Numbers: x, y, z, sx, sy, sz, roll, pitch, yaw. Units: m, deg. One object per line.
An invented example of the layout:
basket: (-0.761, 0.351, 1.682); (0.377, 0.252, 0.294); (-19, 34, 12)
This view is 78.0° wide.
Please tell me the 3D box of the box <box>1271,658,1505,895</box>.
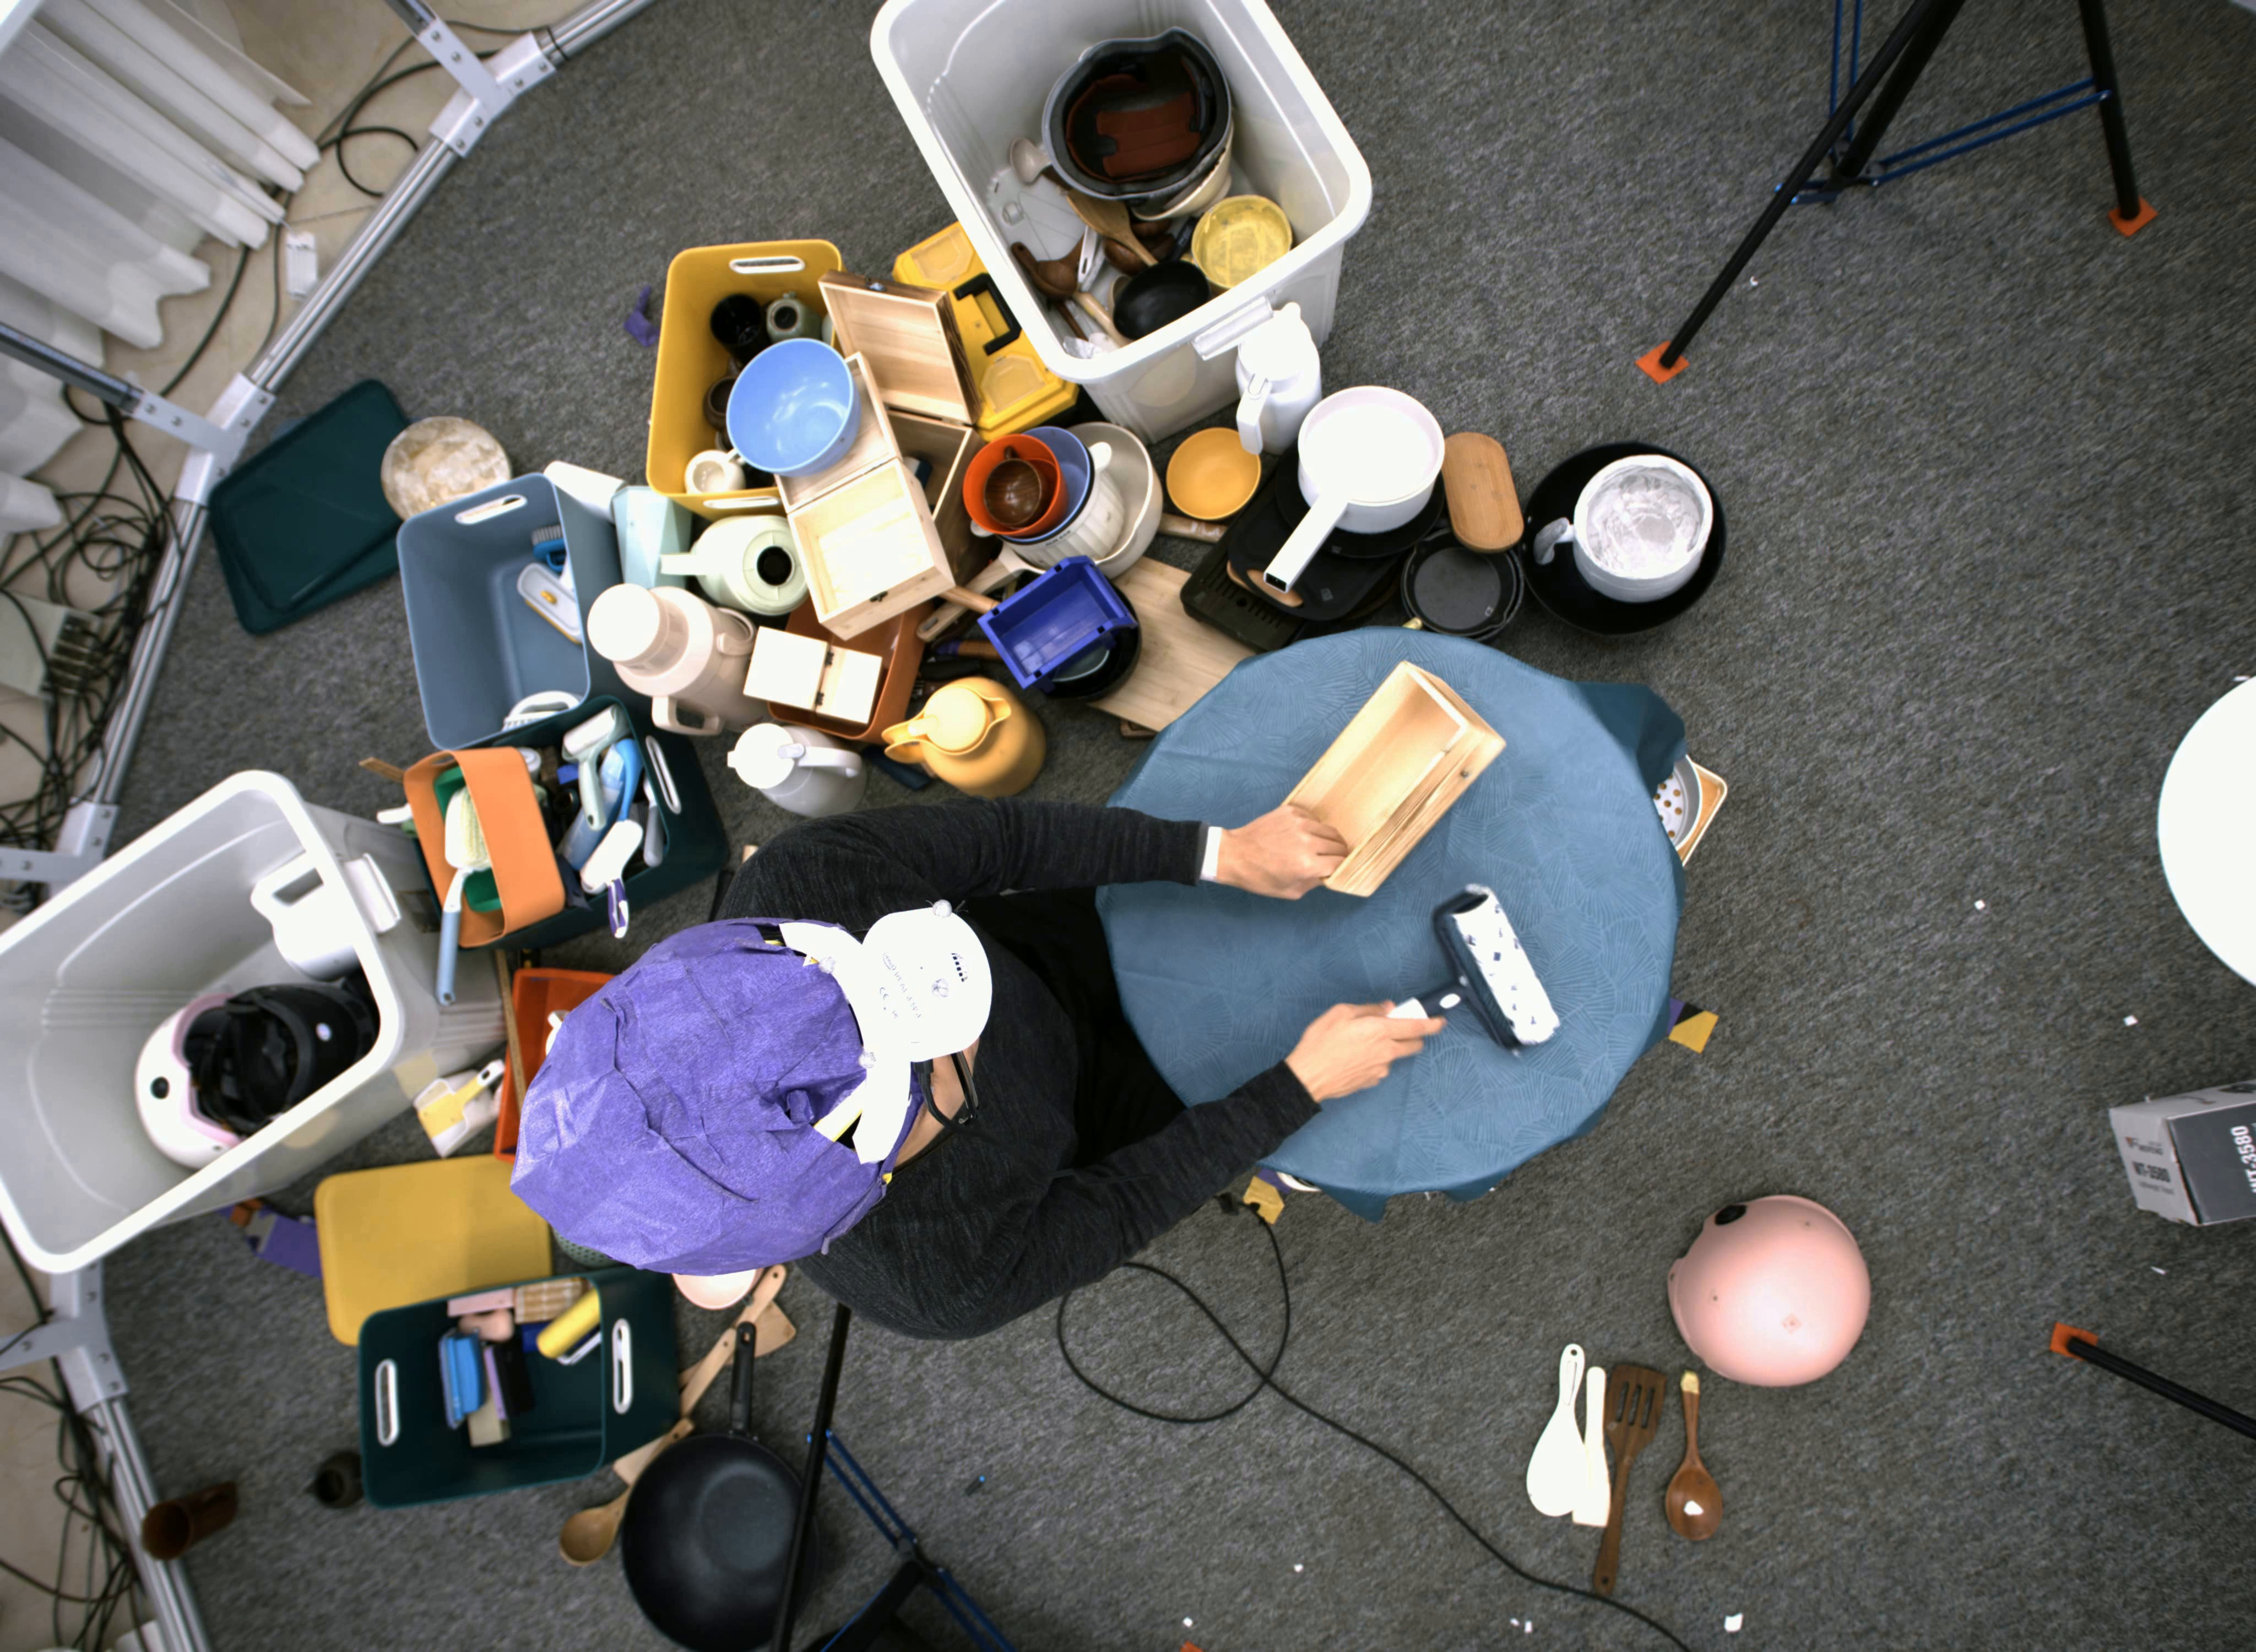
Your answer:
box: (0.257, -0.048, 1.377); (0.215, 0.080, 0.106); (-53, 54, 21)

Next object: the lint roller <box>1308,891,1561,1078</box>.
lint roller: (0.296, 0.194, 1.392); (0.248, 0.050, 0.178); (-30, 105, 5)
